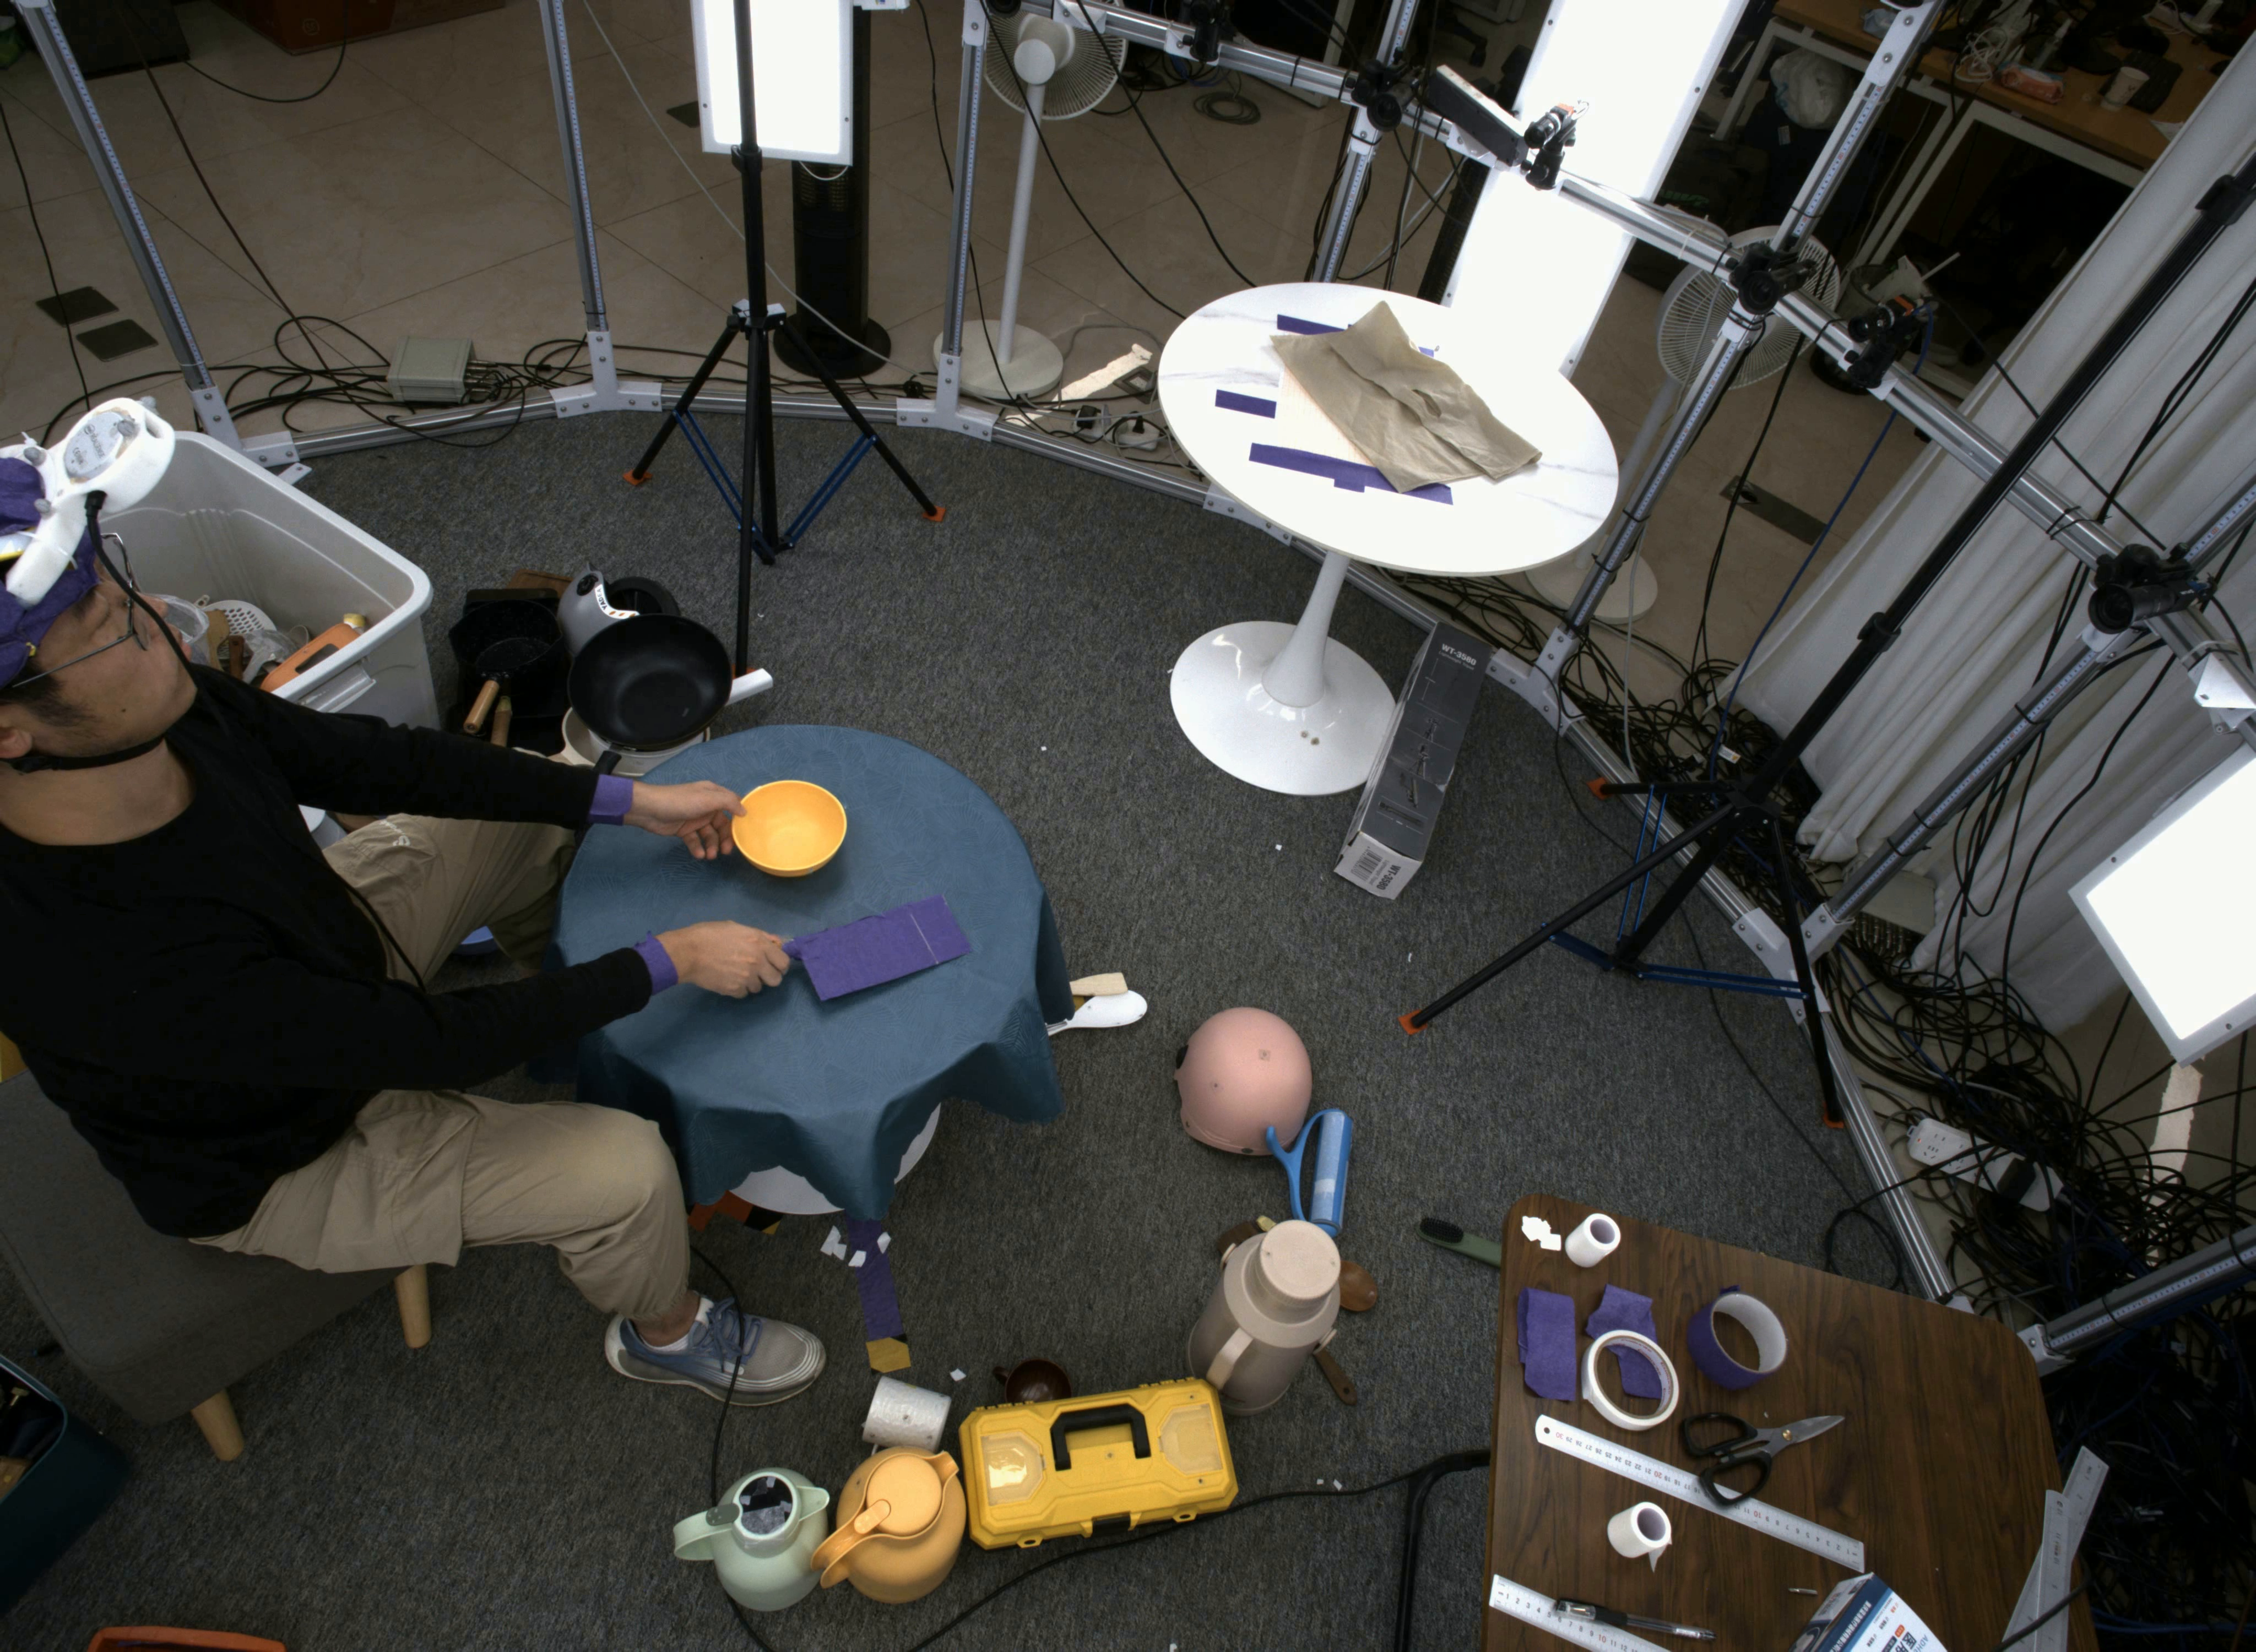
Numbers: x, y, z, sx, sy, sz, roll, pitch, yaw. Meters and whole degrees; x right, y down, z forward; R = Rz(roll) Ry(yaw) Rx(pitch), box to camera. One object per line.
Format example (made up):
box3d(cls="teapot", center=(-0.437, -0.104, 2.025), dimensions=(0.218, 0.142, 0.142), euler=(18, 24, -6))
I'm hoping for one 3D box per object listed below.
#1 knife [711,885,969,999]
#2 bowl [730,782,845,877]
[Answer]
box3d(cls="knife", center=(-0.344, 0.155, 1.590), dimensions=(0.317, 0.032, 0.102), euler=(-19, 67, -31))
box3d(cls="bowl", center=(-0.436, 0.015, 1.668), dimensions=(0.145, 0.061, 0.142), euler=(8, 50, -8))
